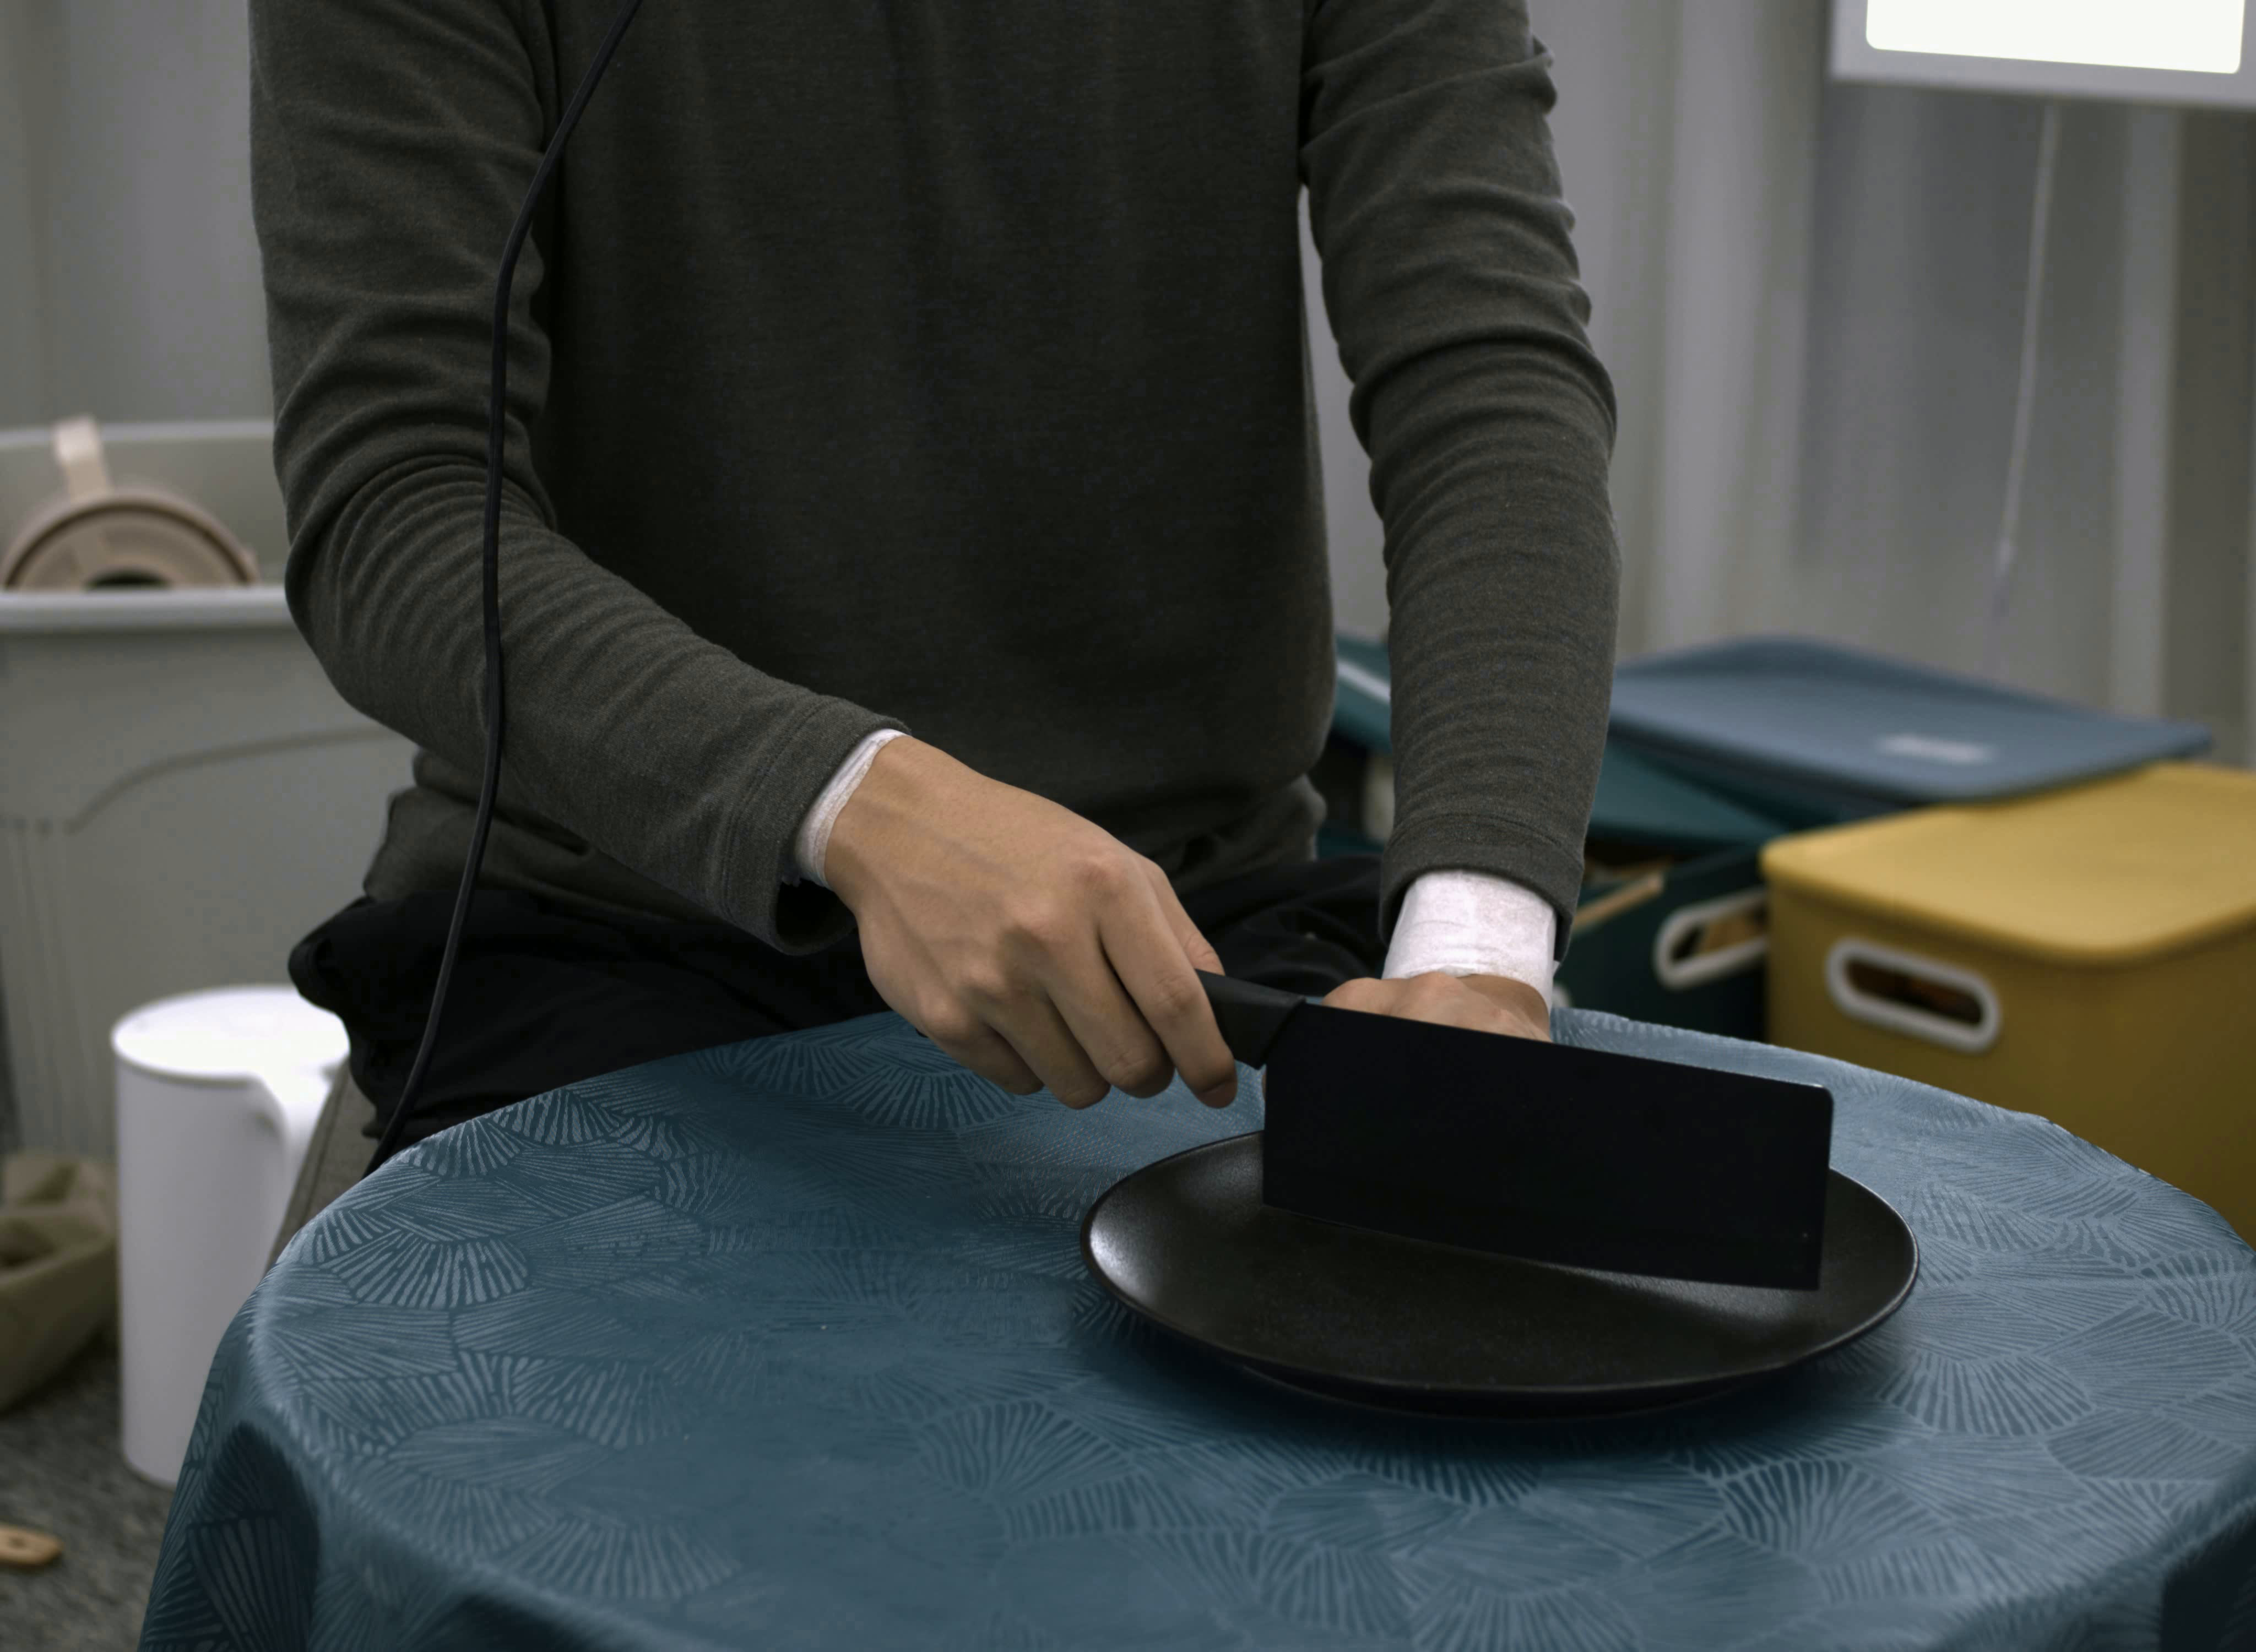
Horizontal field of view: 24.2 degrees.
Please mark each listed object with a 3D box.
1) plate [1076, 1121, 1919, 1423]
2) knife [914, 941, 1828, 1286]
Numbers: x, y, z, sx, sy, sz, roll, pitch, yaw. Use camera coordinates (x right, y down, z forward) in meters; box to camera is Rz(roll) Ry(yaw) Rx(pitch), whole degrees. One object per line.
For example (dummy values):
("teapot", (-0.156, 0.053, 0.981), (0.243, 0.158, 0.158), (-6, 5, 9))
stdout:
("plate", (0.106, 0.129, 1.526), (0.243, 0.023, 0.243), (1, 16, 0))
("knife", (0.068, 0.081, 1.560), (0.299, 0.081, 0.021), (13, 15, 26))
